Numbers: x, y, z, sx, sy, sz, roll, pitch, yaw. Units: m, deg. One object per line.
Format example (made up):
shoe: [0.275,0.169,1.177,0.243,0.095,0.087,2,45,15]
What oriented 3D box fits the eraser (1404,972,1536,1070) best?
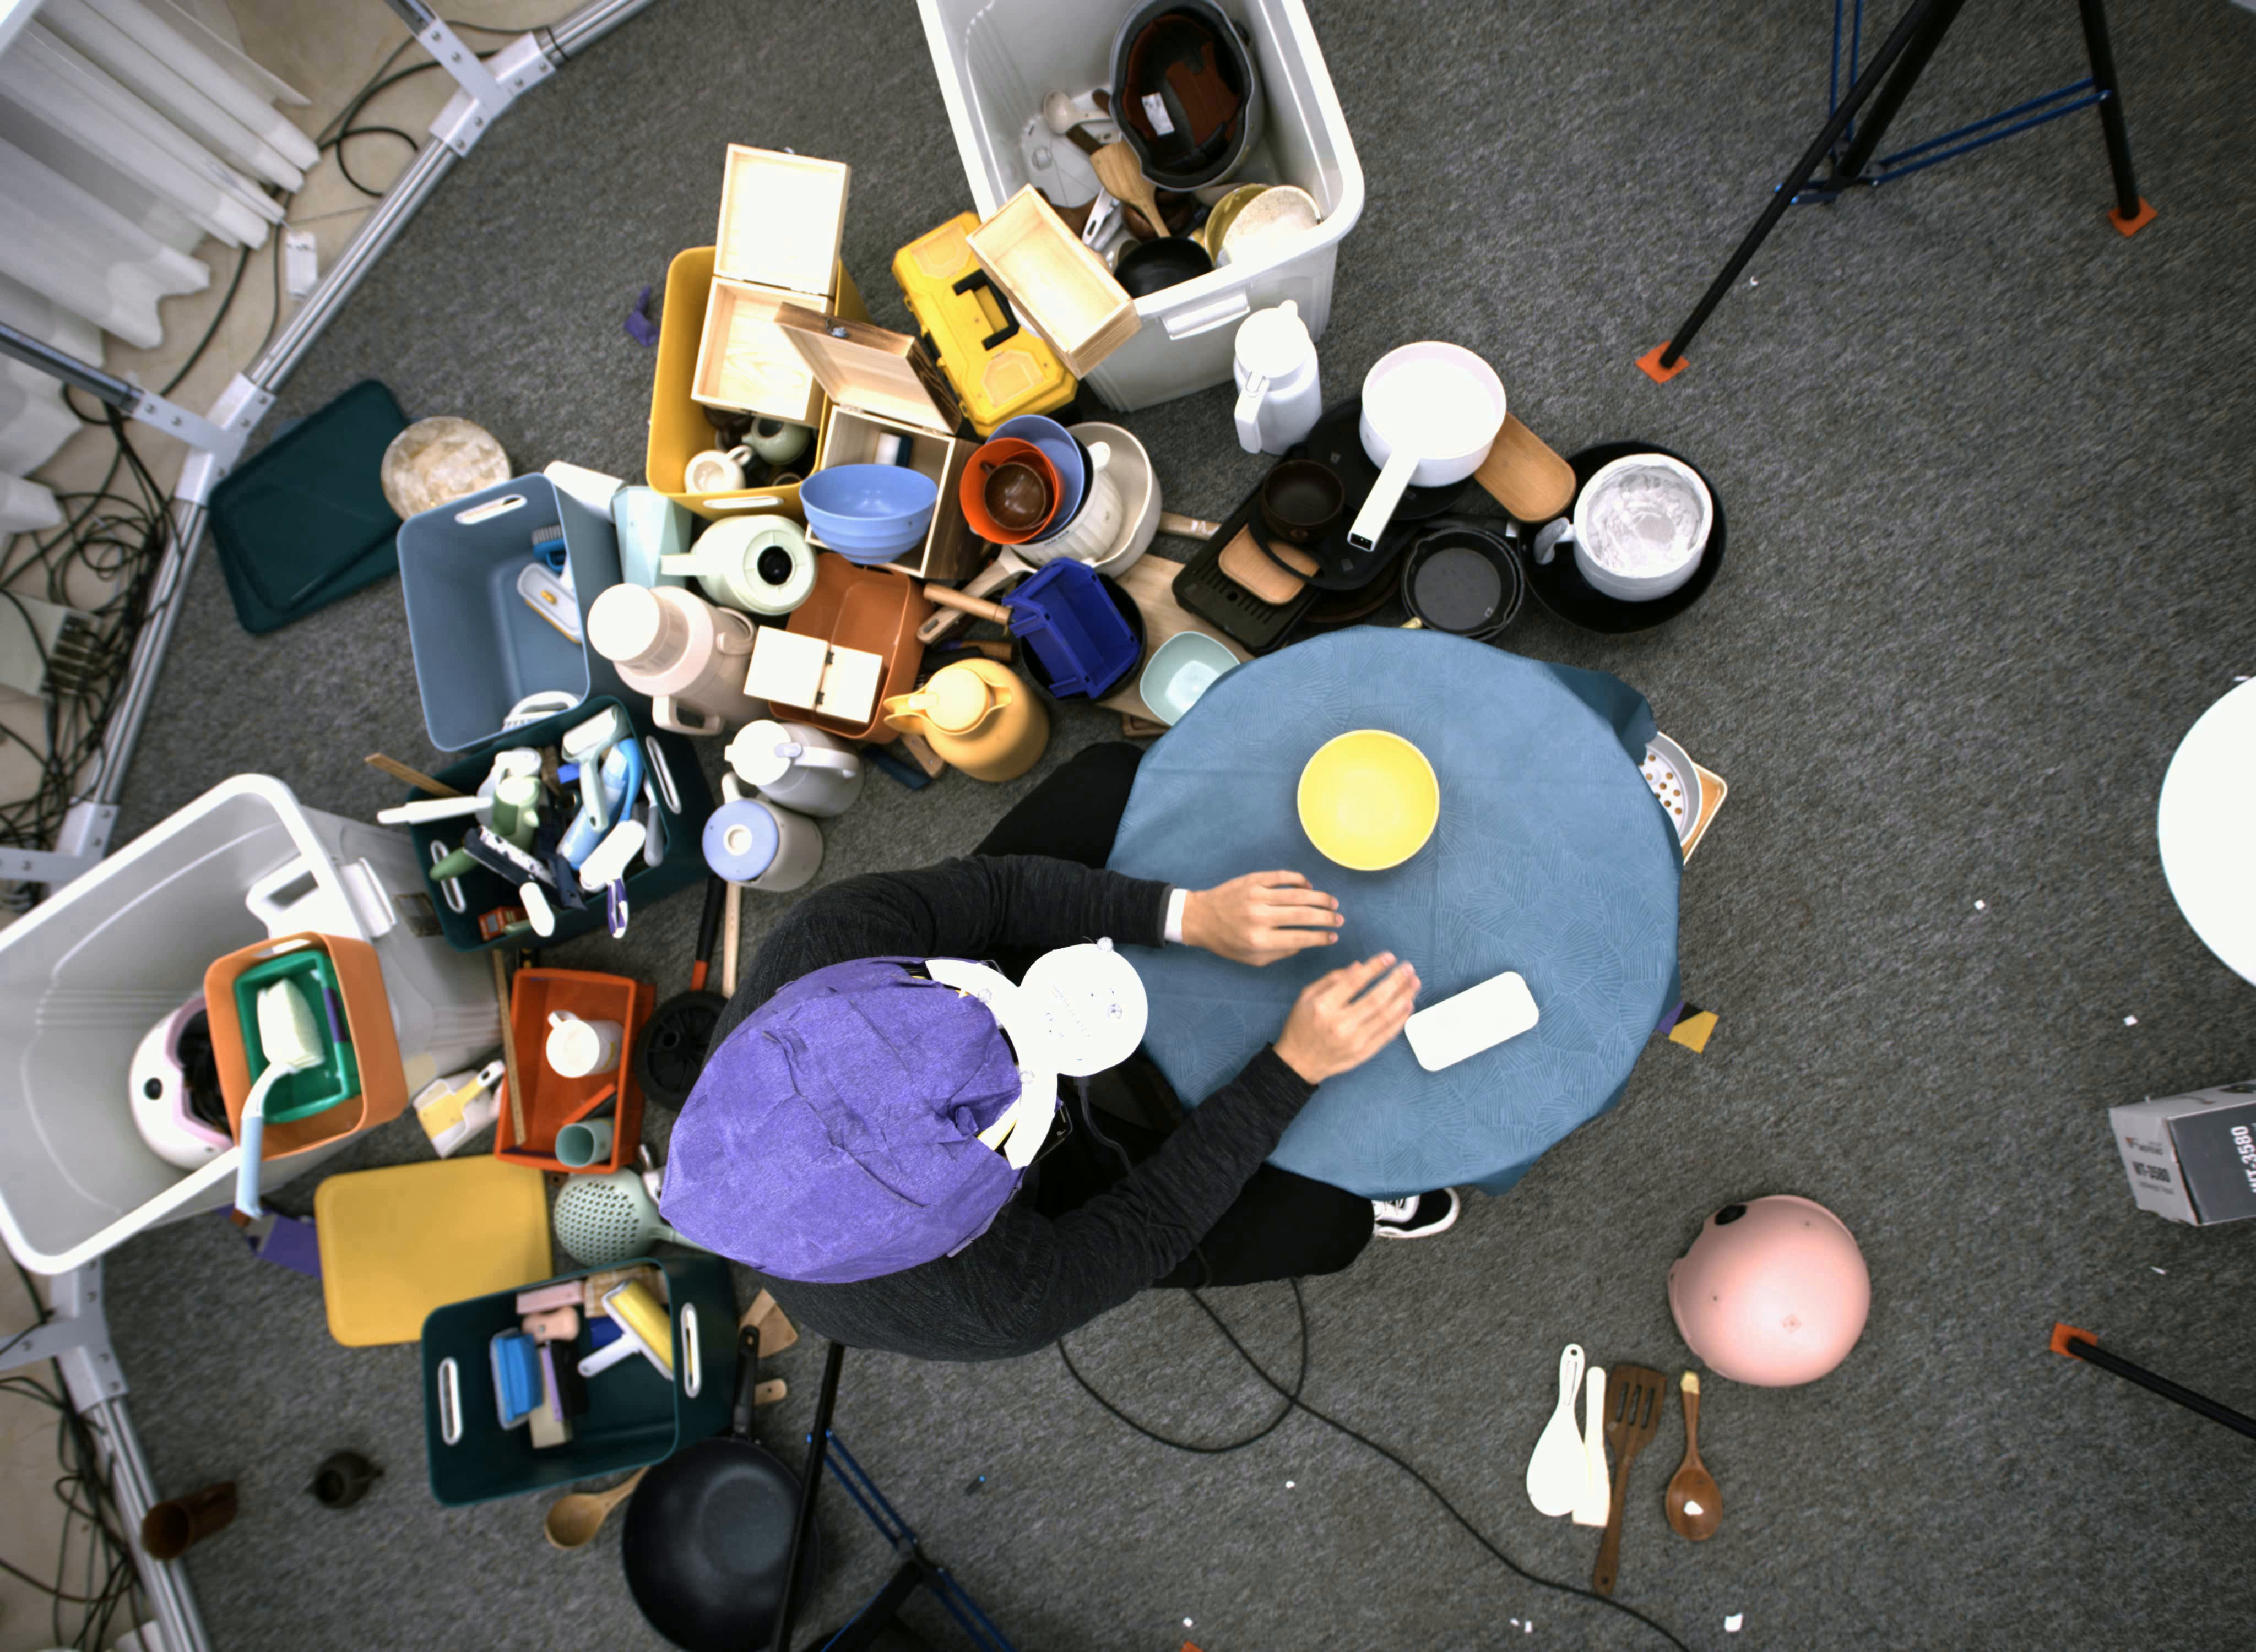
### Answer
eraser: [0.351,0.198,1.422,0.132,0.034,0.063,-25,81,7]

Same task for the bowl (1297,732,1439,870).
bowl: [0.251,-0.024,1.439,0.146,0.060,0.144,-1,85,11]
